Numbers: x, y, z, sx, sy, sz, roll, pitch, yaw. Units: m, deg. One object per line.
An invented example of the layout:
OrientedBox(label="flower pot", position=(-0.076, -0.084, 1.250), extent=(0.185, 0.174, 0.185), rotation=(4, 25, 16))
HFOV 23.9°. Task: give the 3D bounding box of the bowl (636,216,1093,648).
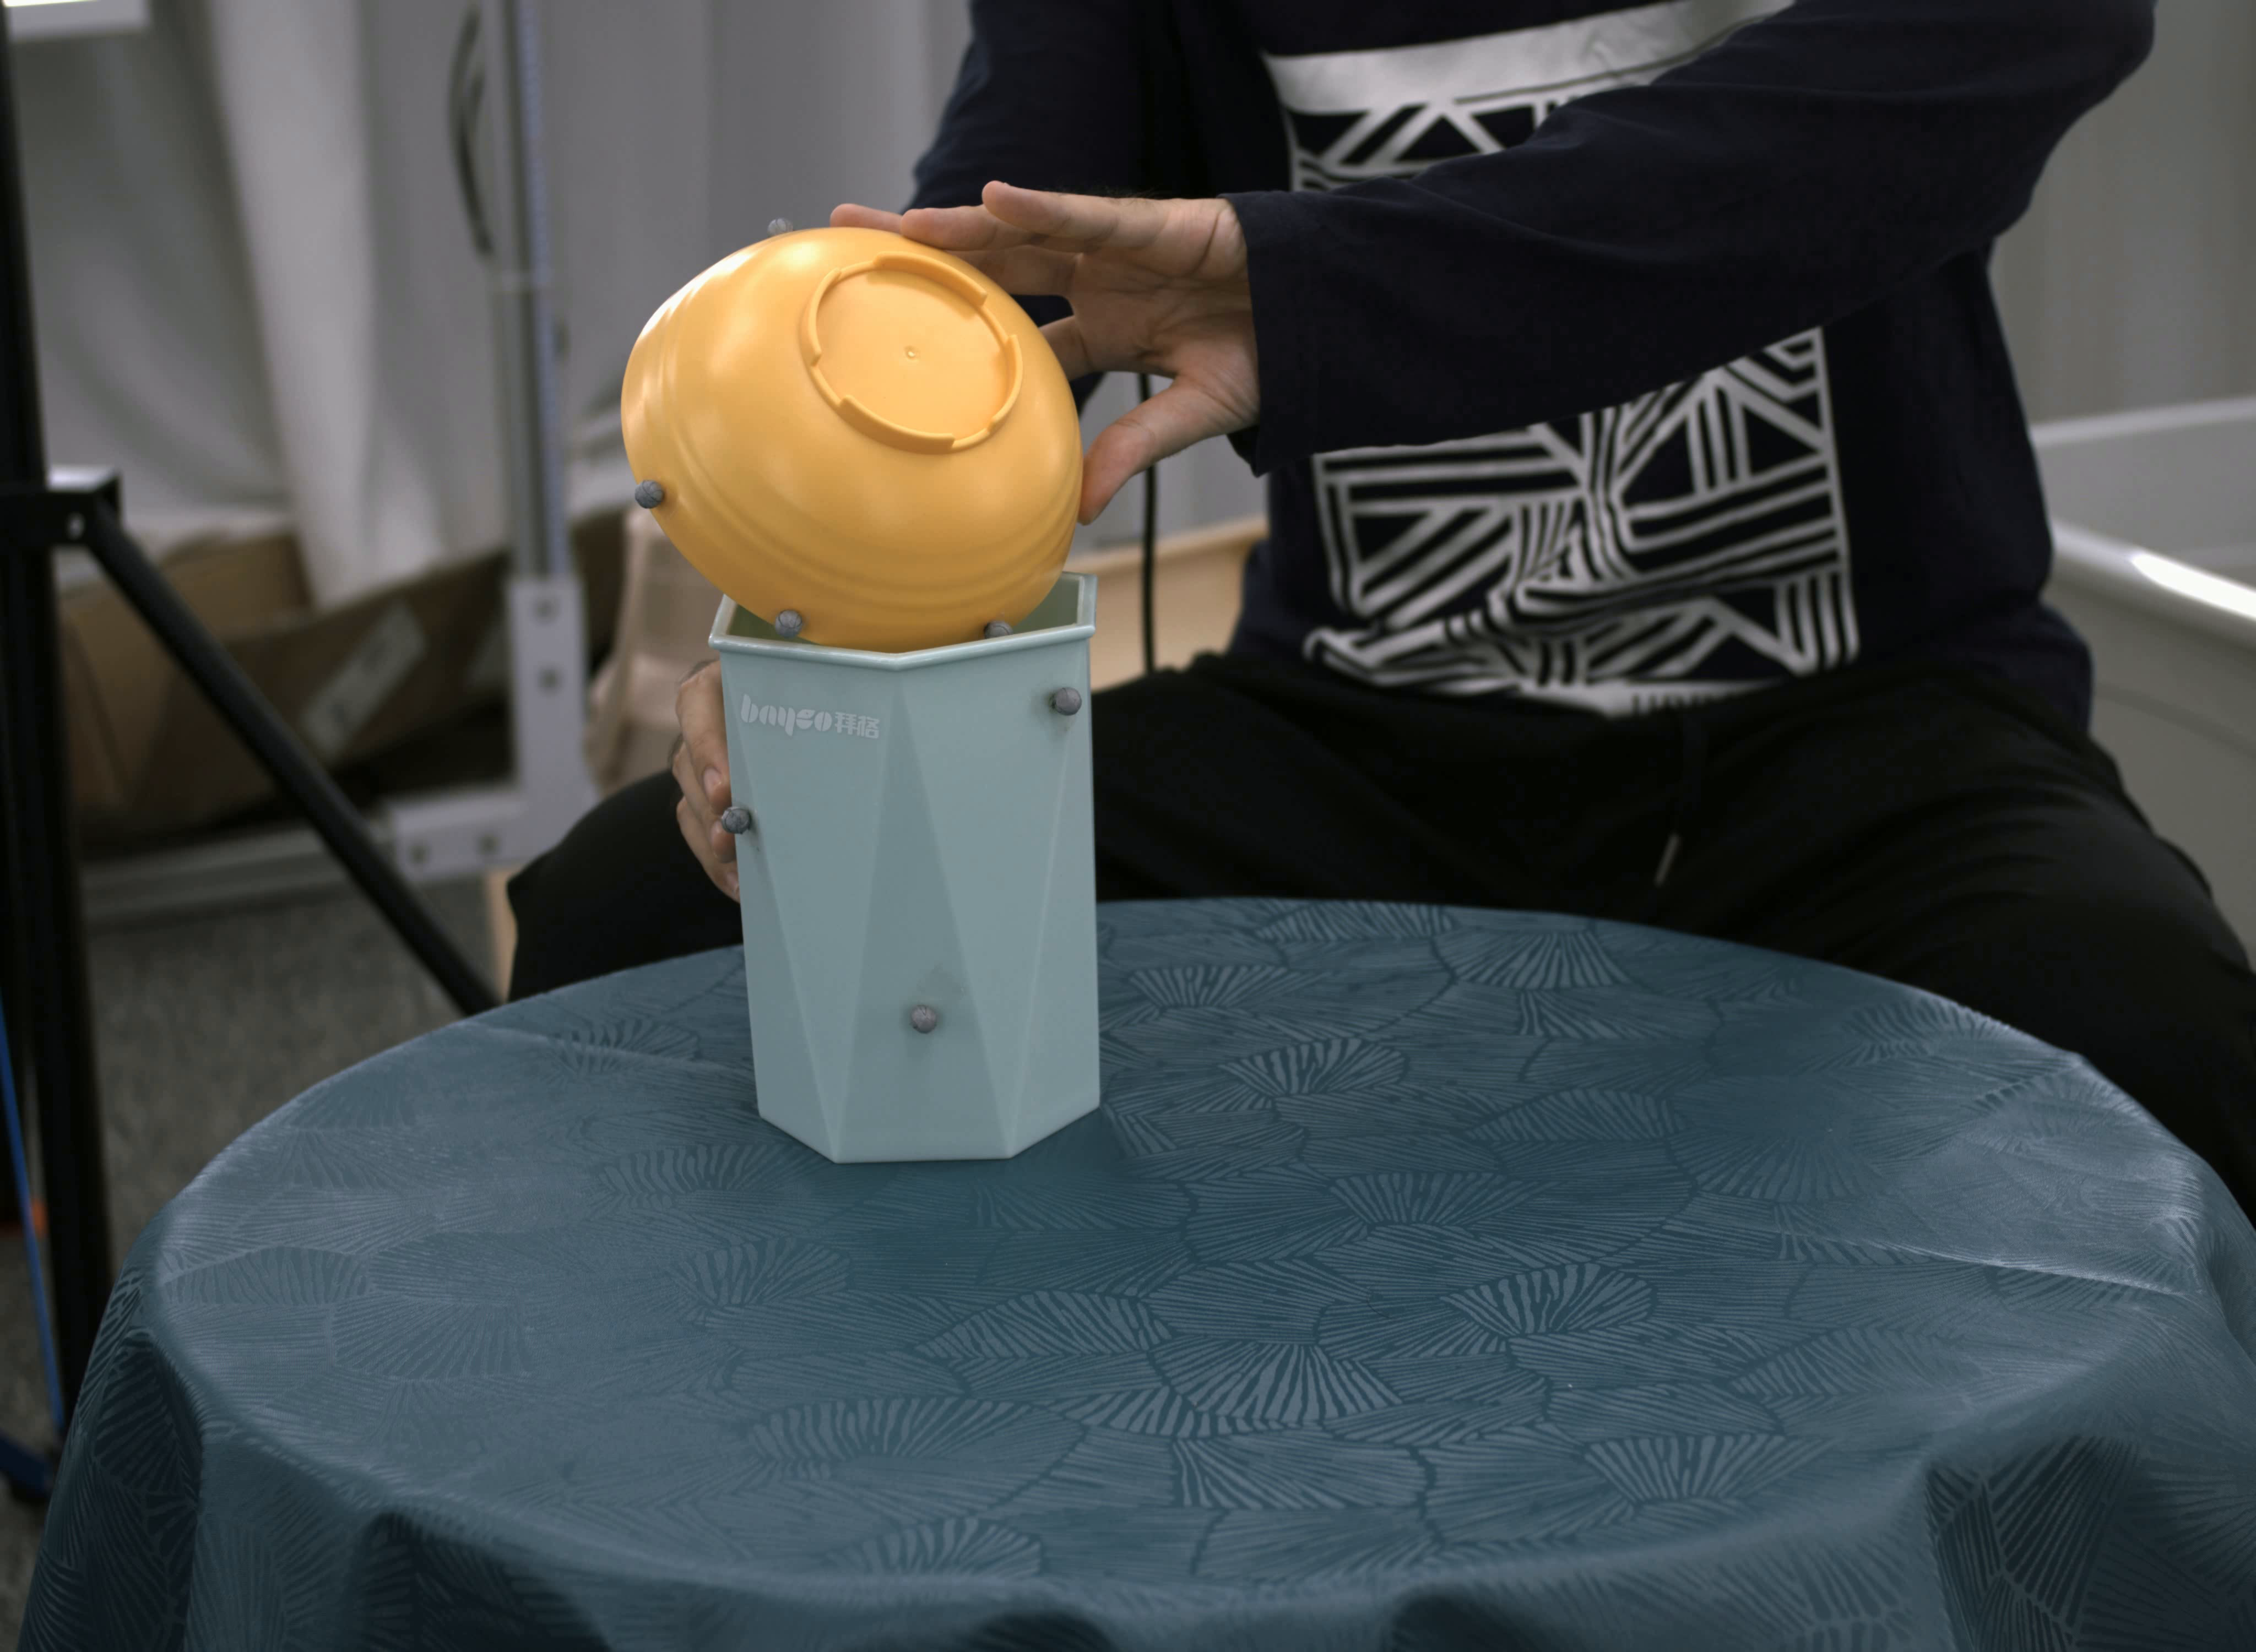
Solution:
OrientedBox(label="bowl", position=(-0.068, -0.127, 1.574), extent=(0.142, 0.147, 0.060), rotation=(-11, -24, -28))

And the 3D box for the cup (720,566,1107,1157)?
OrientedBox(label="cup", position=(-0.063, 0.009, 1.617), extent=(0.133, 0.163, 0.113), rotation=(8, 17, 29))
